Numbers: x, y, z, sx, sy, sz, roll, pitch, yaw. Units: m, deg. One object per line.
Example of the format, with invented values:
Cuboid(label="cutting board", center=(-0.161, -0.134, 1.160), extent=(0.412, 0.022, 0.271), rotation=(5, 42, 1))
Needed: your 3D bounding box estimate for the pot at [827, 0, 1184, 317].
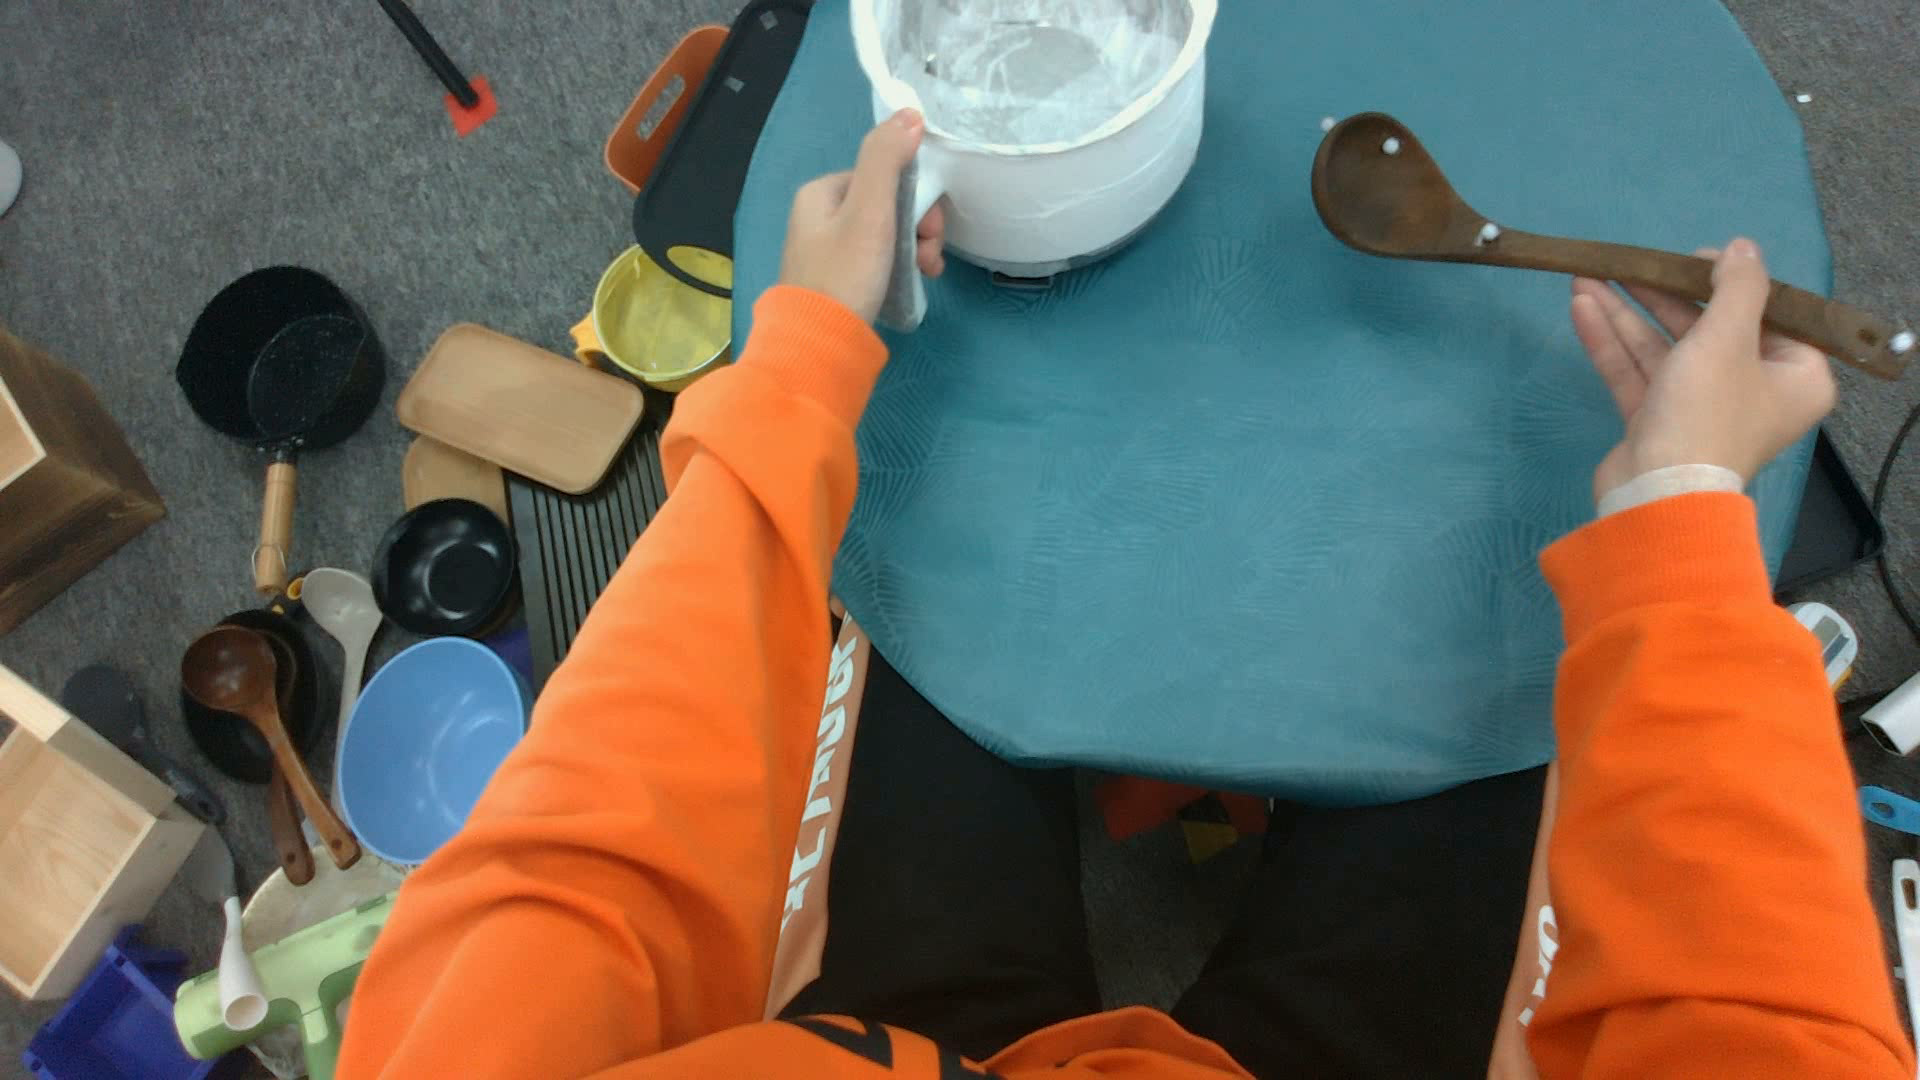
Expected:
Cuboid(label="pot", center=(0.012, -0.228, 0.721), extent=(0.179, 0.136, 0.234), rotation=(32, 77, 15))

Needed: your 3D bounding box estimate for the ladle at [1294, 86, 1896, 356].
Cuboid(label="ladle", center=(0.287, -0.152, 0.643), extent=(0.274, 0.071, 0.076), rotation=(24, 73, 31))
